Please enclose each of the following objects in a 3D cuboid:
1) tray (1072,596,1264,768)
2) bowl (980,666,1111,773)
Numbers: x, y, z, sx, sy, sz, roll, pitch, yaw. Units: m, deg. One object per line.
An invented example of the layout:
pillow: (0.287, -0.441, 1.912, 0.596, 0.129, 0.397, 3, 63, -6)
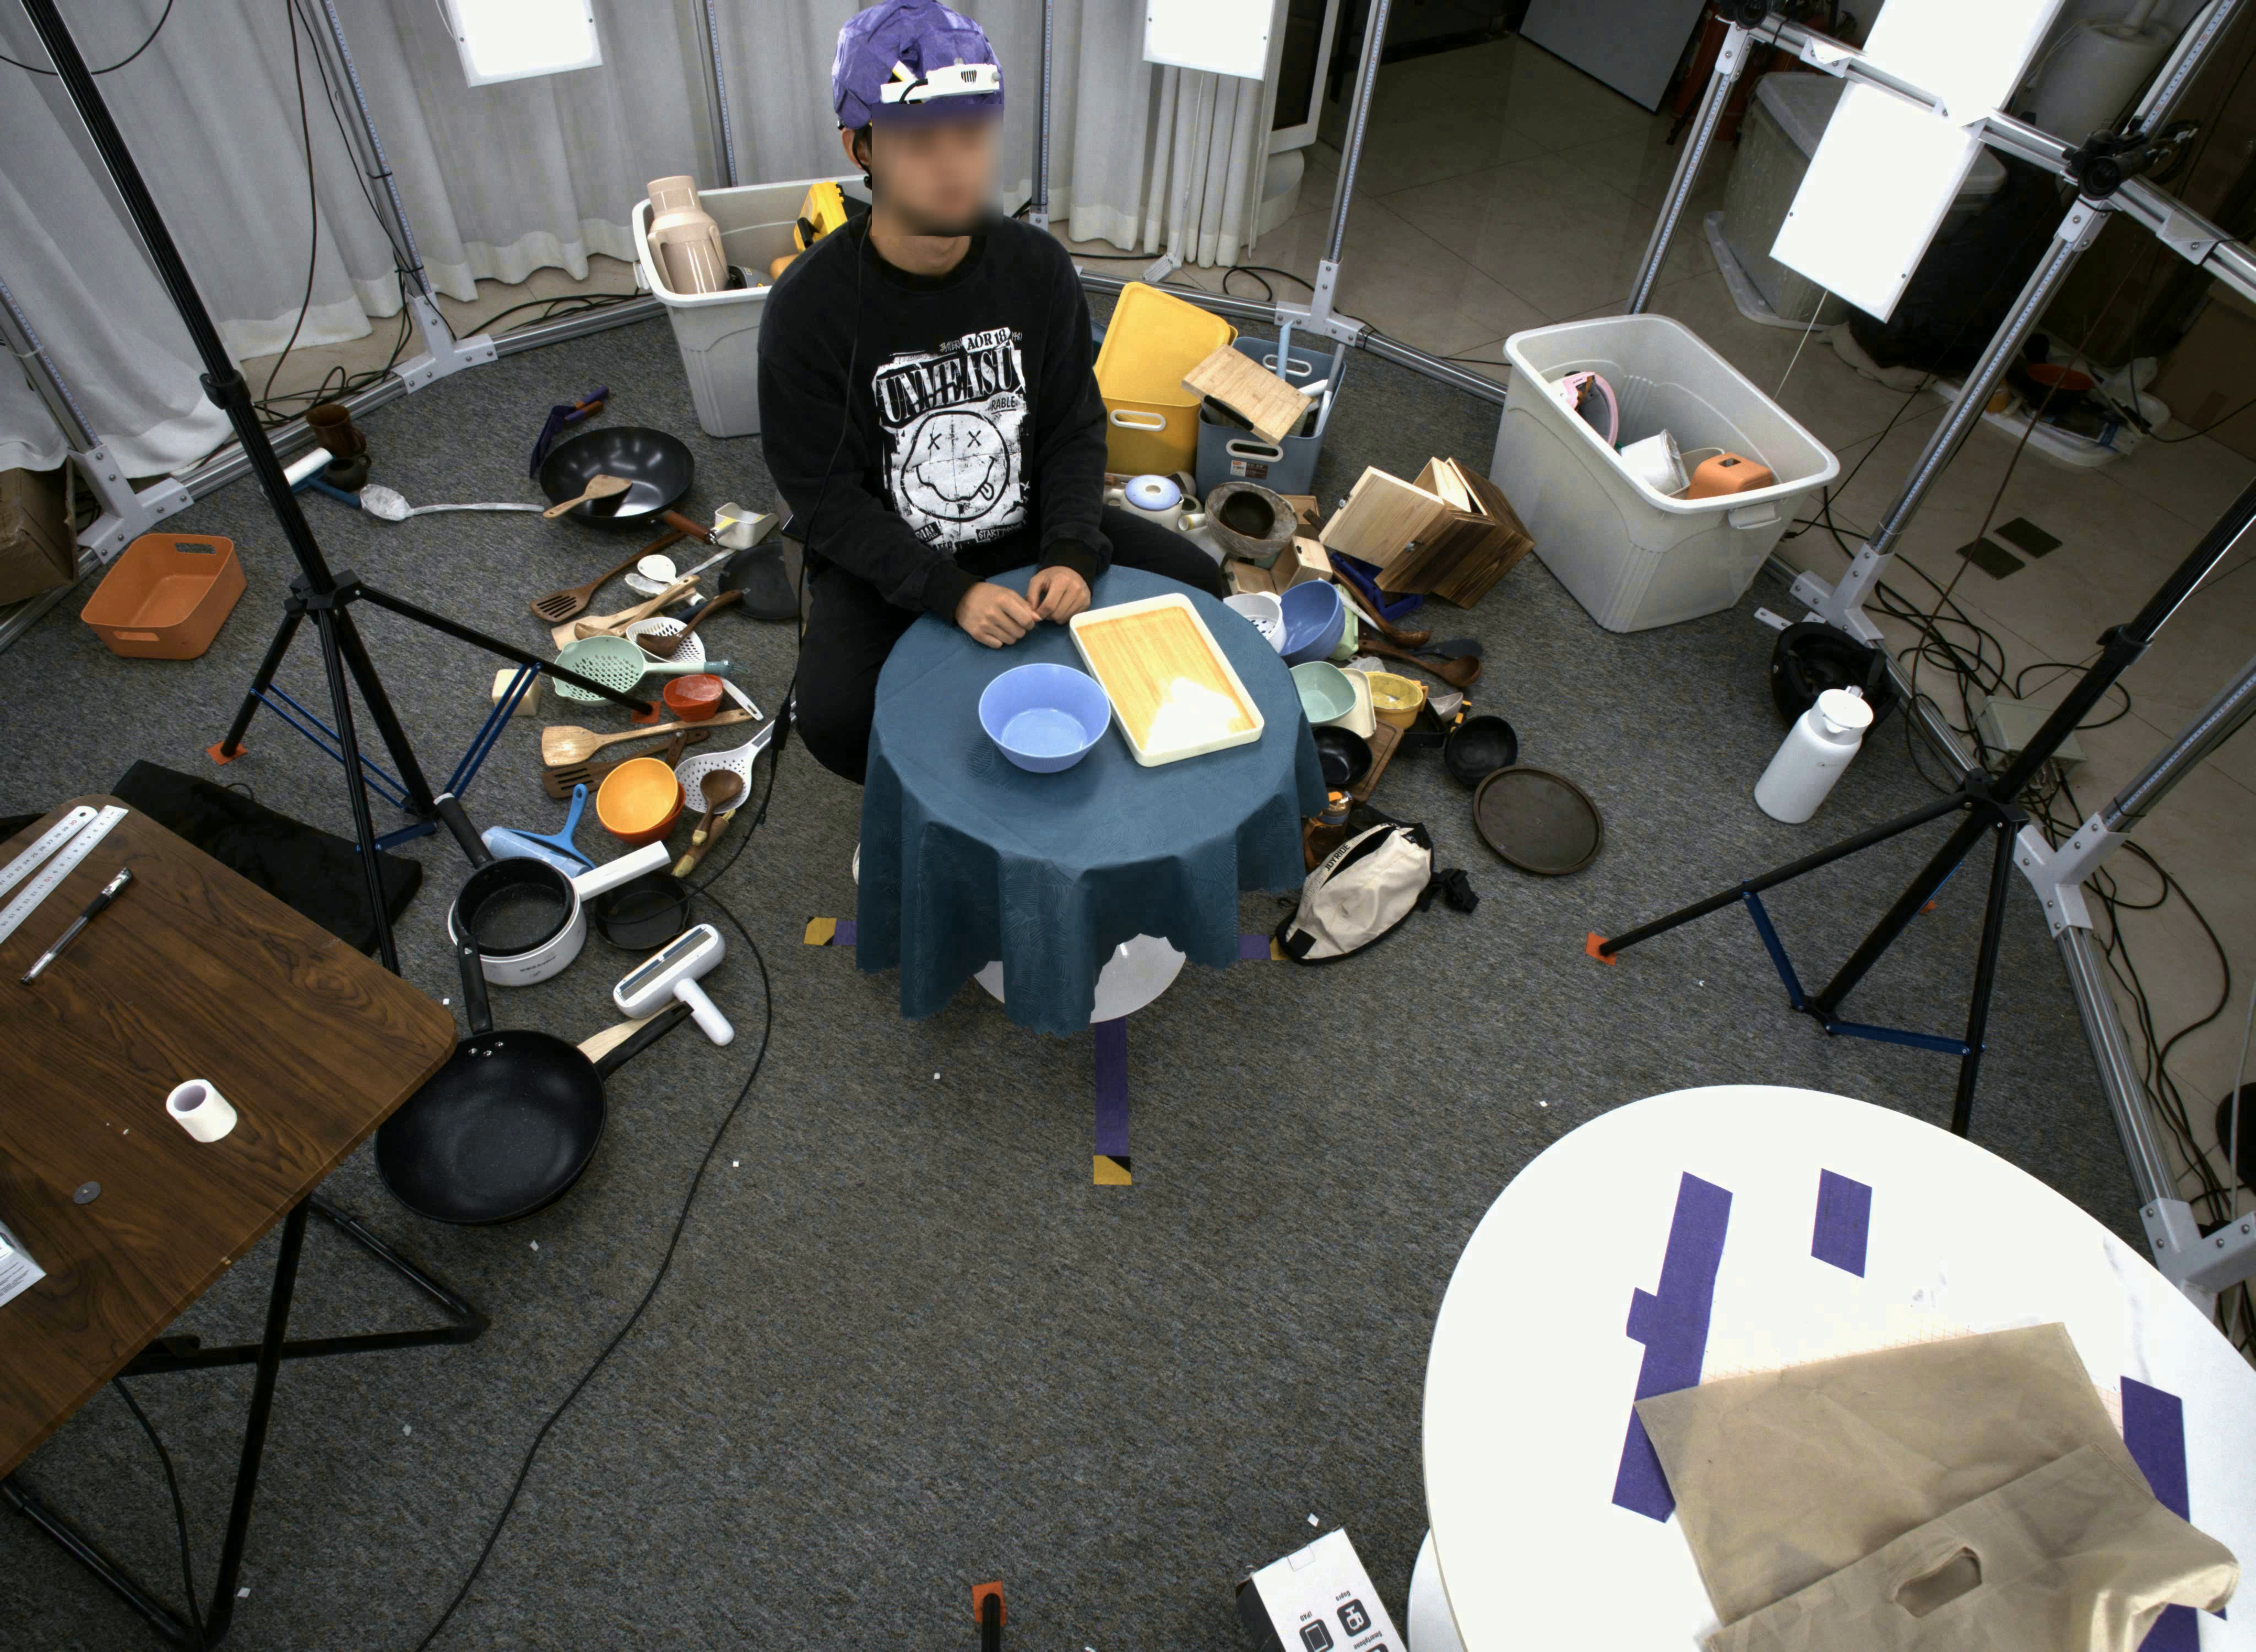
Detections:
tray: (0.053, -0.215, 1.858, 0.191, 0.027, 0.307, -14, 51, -16)
bowl: (-0.113, -0.136, 1.748, 0.176, 0.068, 0.180, 2, 49, -3)
